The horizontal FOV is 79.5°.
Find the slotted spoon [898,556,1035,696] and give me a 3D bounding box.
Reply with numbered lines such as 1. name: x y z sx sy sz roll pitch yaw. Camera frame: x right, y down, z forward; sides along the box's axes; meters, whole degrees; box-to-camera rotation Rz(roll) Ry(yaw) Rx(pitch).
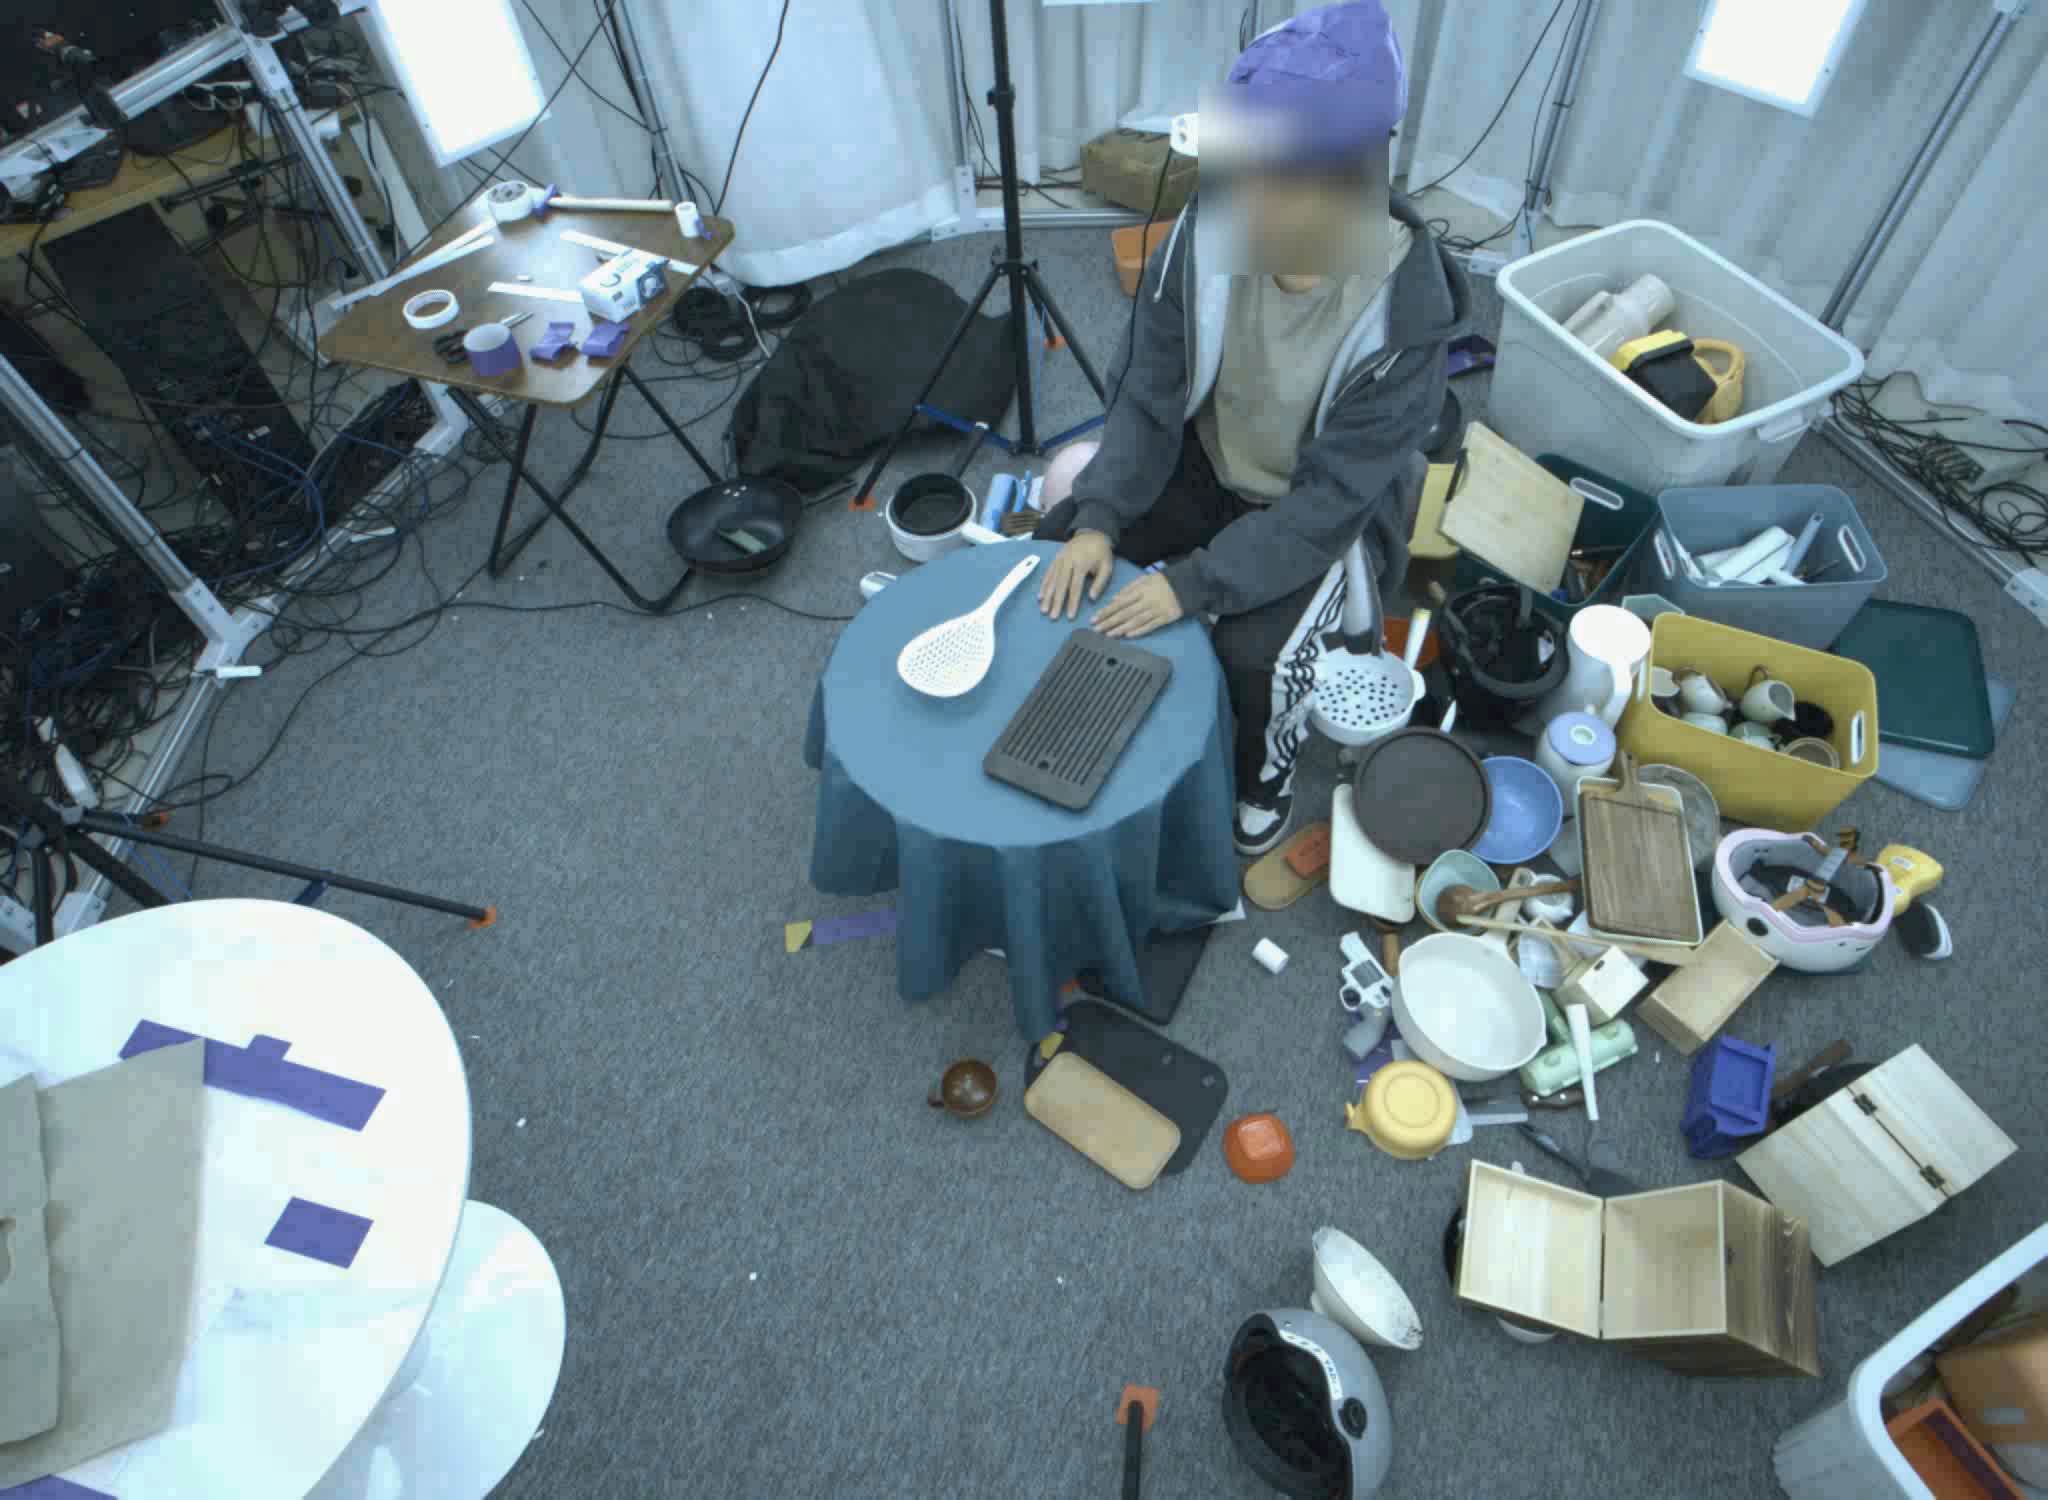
1. slotted spoon: -0.065 -0.202 1.910 0.135 0.051 0.348 22 58 19

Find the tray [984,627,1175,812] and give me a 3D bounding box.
1. tray: 0.085 -0.049 1.811 0.168 0.019 0.306 23 58 17
